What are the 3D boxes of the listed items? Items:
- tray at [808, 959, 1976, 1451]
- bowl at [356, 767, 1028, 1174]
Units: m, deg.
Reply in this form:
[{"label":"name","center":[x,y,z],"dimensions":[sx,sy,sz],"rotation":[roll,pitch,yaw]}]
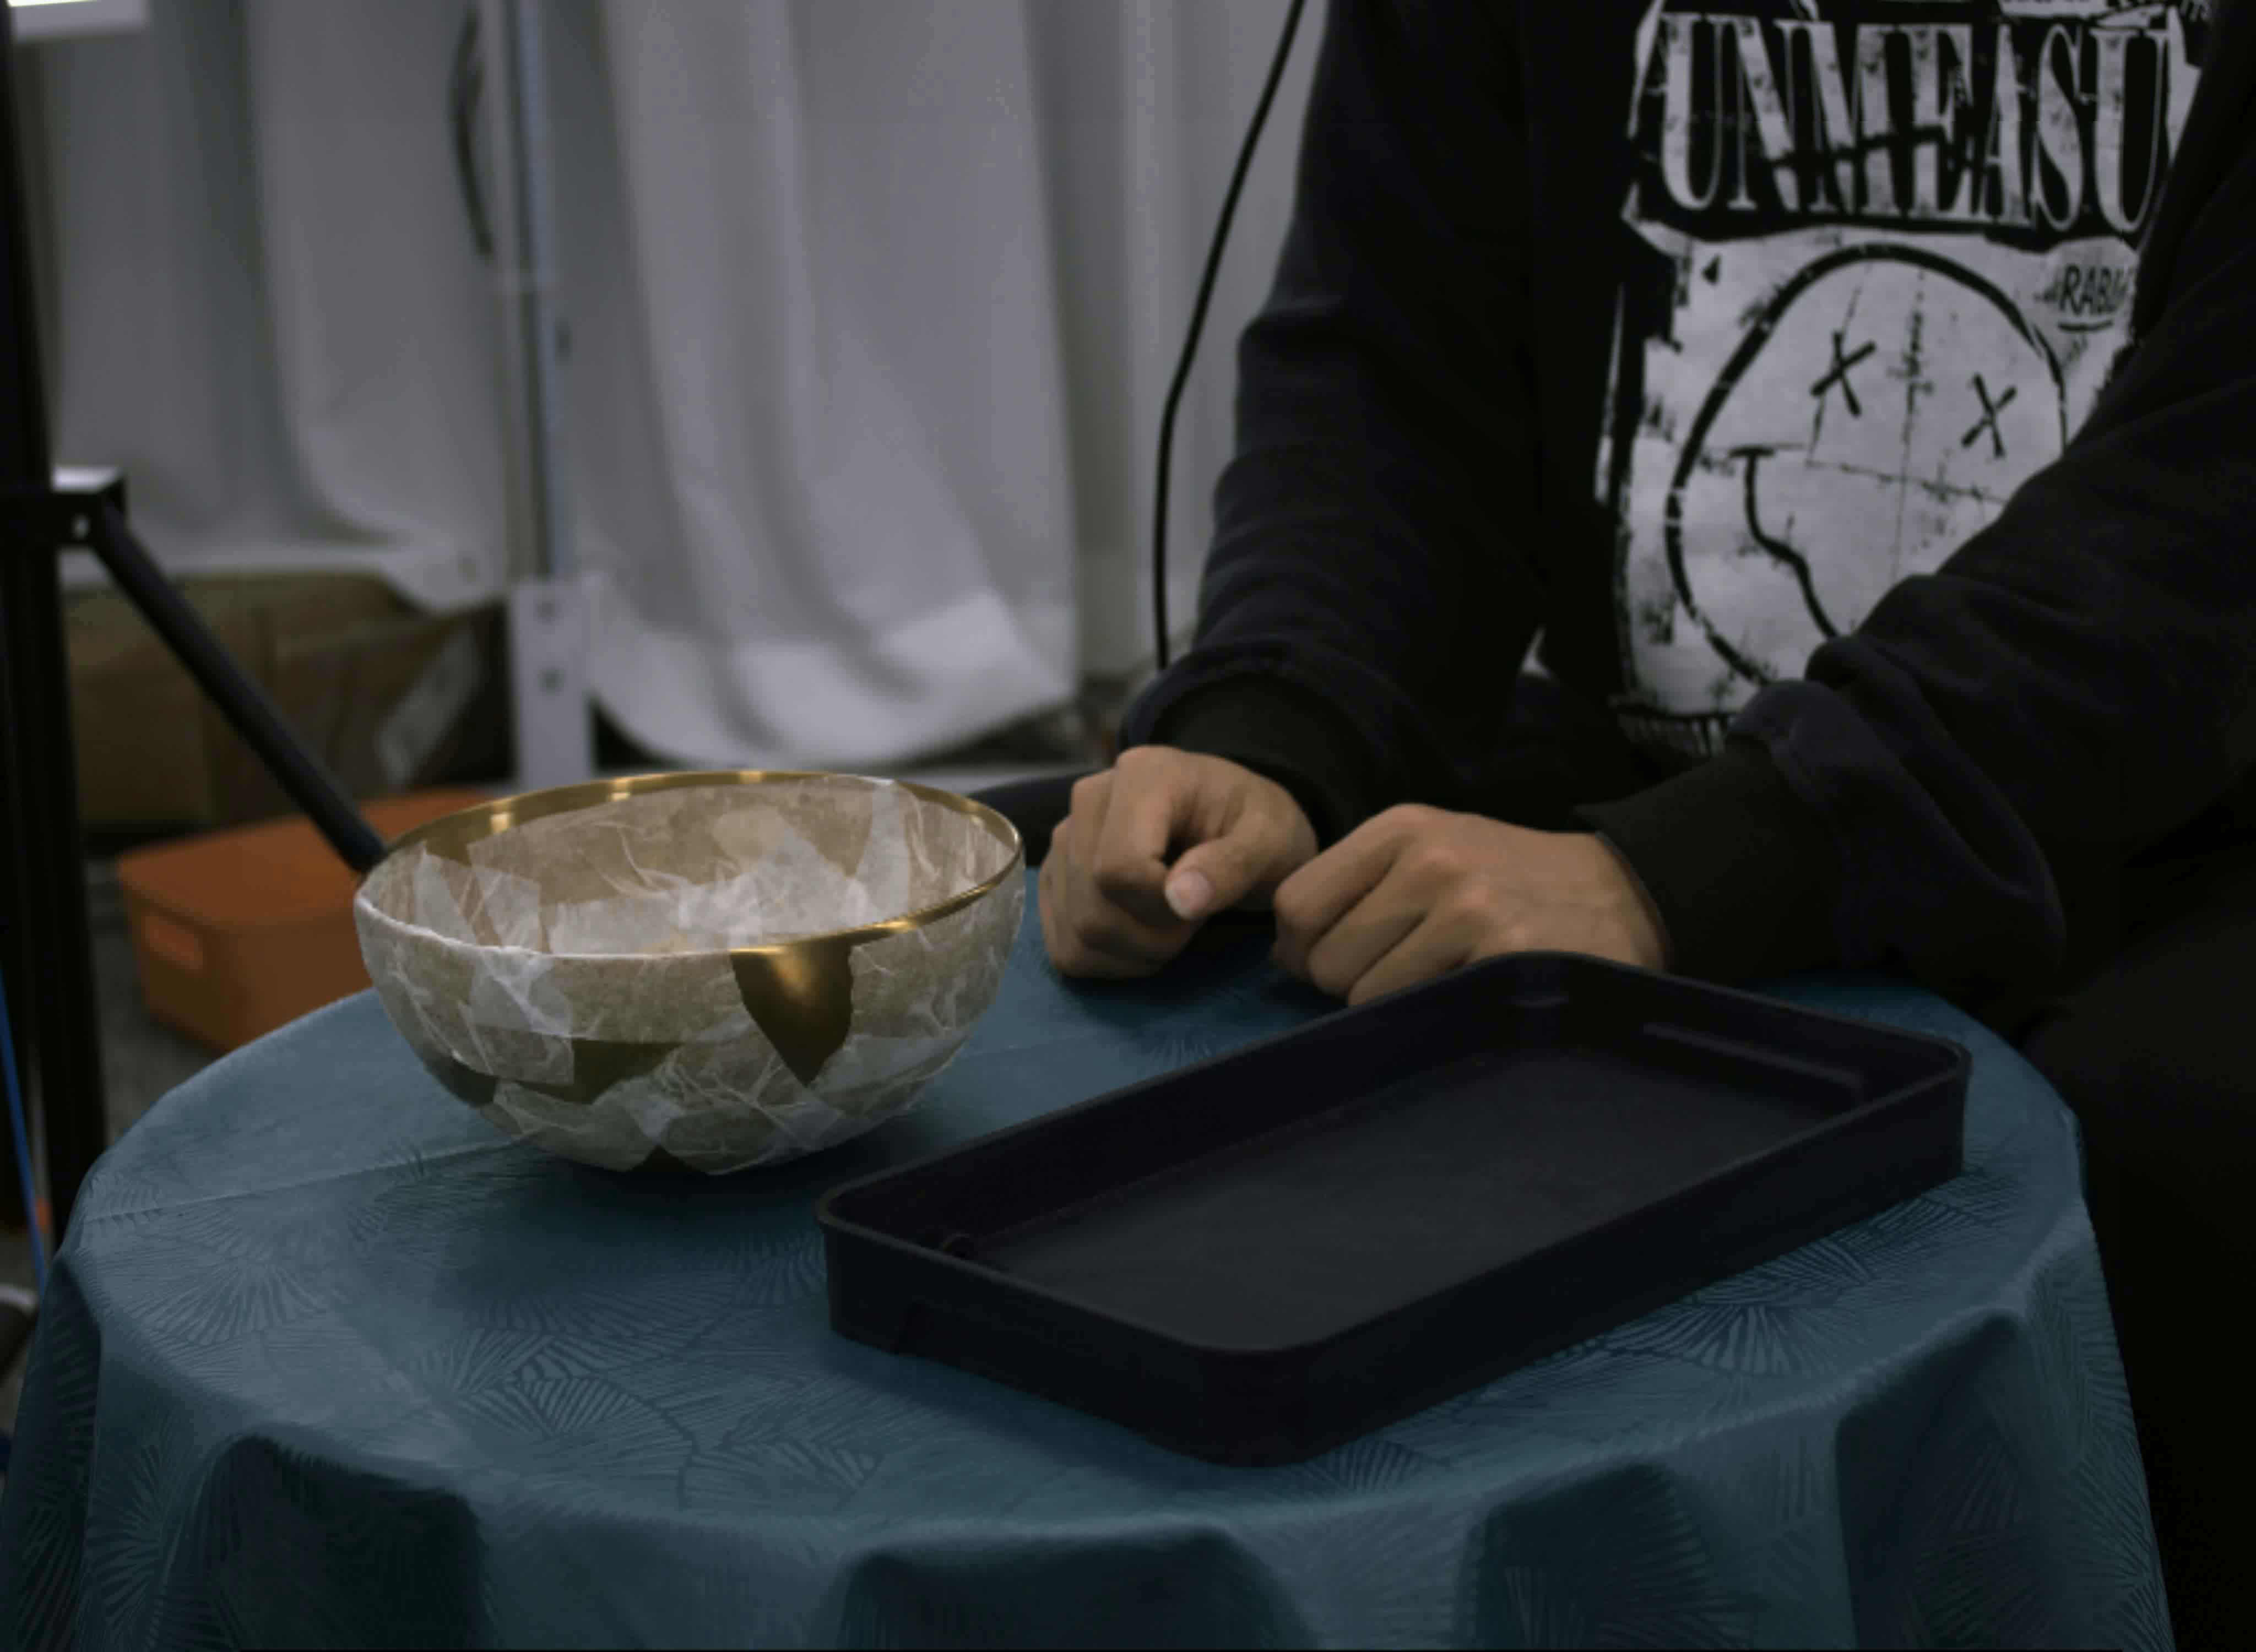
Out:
[{"label":"tray","center":[0.080,0.100,1.499],"dimensions":[0.310,0.037,0.188],"rotation":[-15,19,-41]},{"label":"bowl","center":[-0.125,0.051,1.612],"dimensions":[0.213,0.094,0.216],"rotation":[-4,15,0]}]
